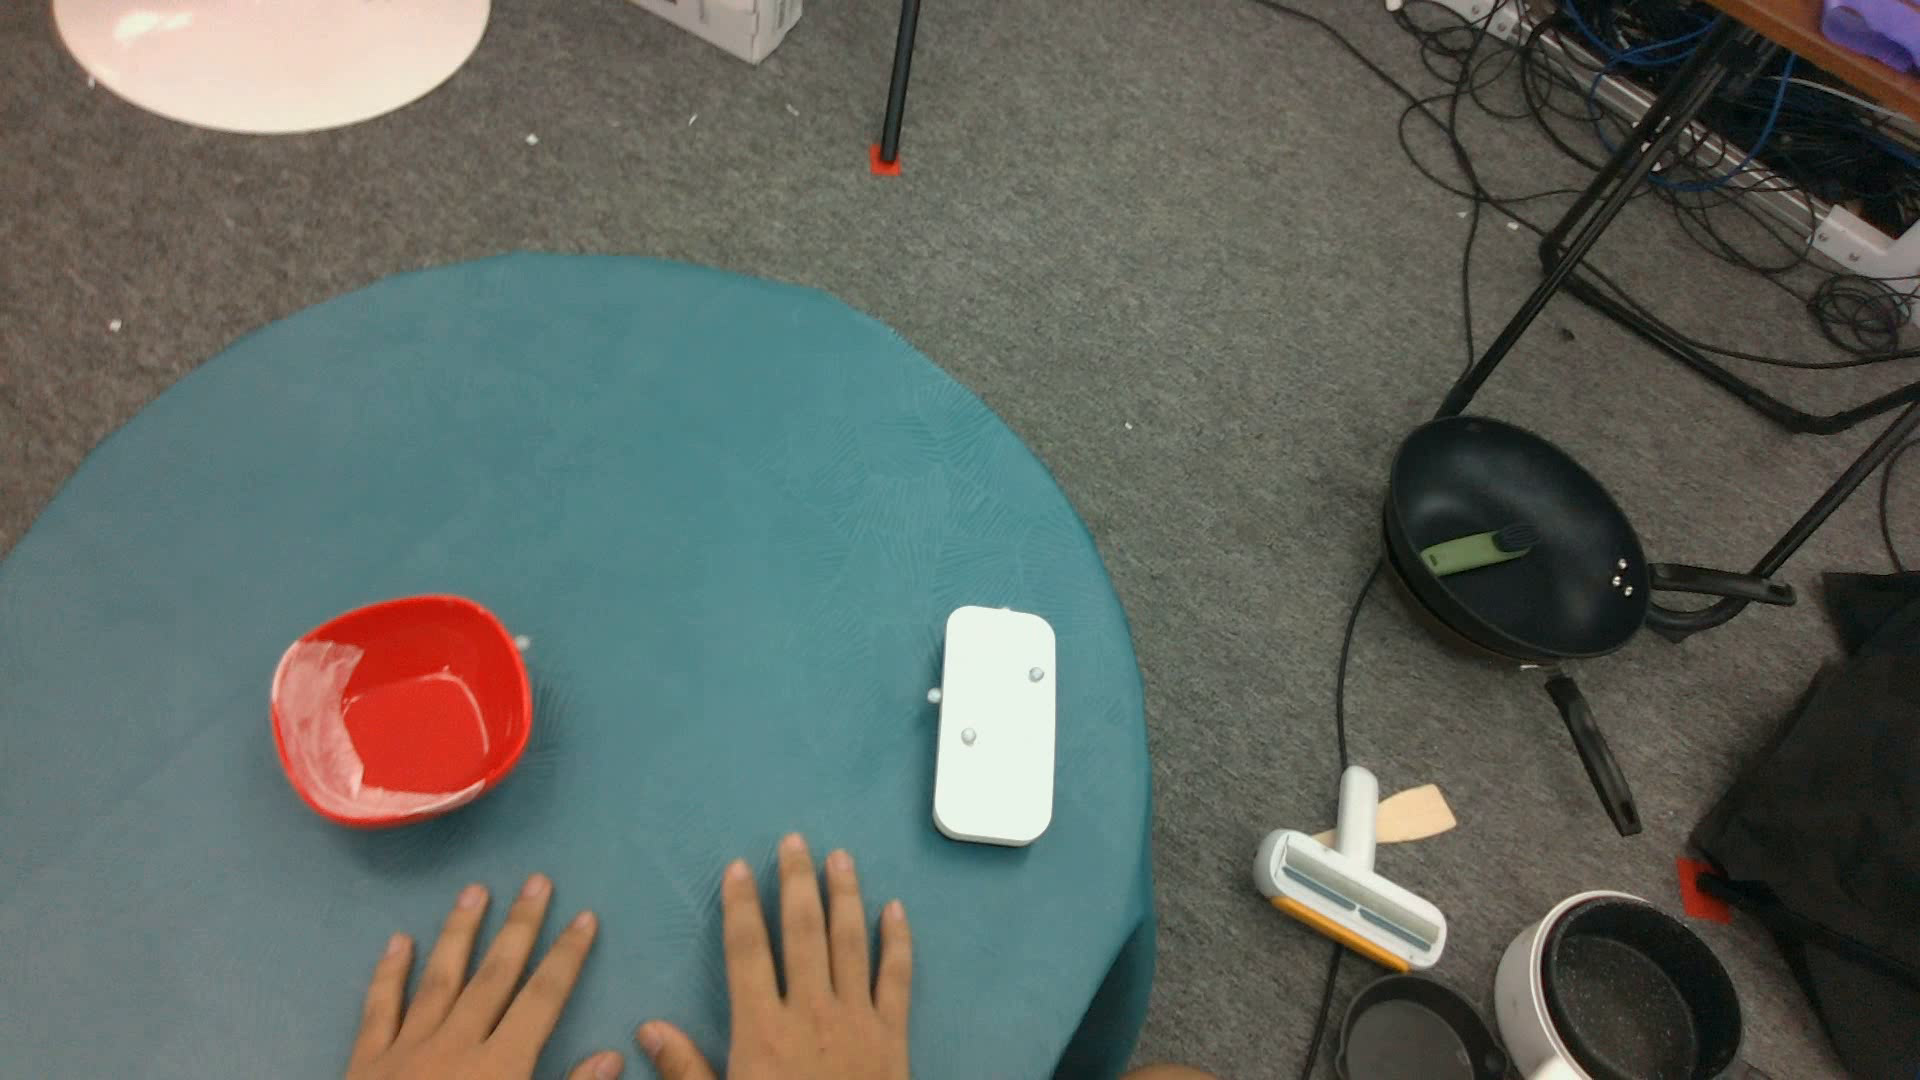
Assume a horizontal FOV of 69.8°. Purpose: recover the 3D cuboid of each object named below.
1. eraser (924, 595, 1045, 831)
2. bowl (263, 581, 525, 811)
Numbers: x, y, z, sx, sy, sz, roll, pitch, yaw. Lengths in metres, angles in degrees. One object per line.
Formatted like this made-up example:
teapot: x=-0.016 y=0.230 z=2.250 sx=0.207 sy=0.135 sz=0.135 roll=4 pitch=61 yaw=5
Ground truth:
eraser: x=0.012 y=0.089 z=0.735 sx=0.063 sy=0.034 sz=0.132 roll=8 pitch=54 yaw=-6
bowl: x=-0.267 y=0.081 z=0.660 sx=0.119 sy=0.051 sz=0.119 roll=7 pitch=56 yaw=-11
